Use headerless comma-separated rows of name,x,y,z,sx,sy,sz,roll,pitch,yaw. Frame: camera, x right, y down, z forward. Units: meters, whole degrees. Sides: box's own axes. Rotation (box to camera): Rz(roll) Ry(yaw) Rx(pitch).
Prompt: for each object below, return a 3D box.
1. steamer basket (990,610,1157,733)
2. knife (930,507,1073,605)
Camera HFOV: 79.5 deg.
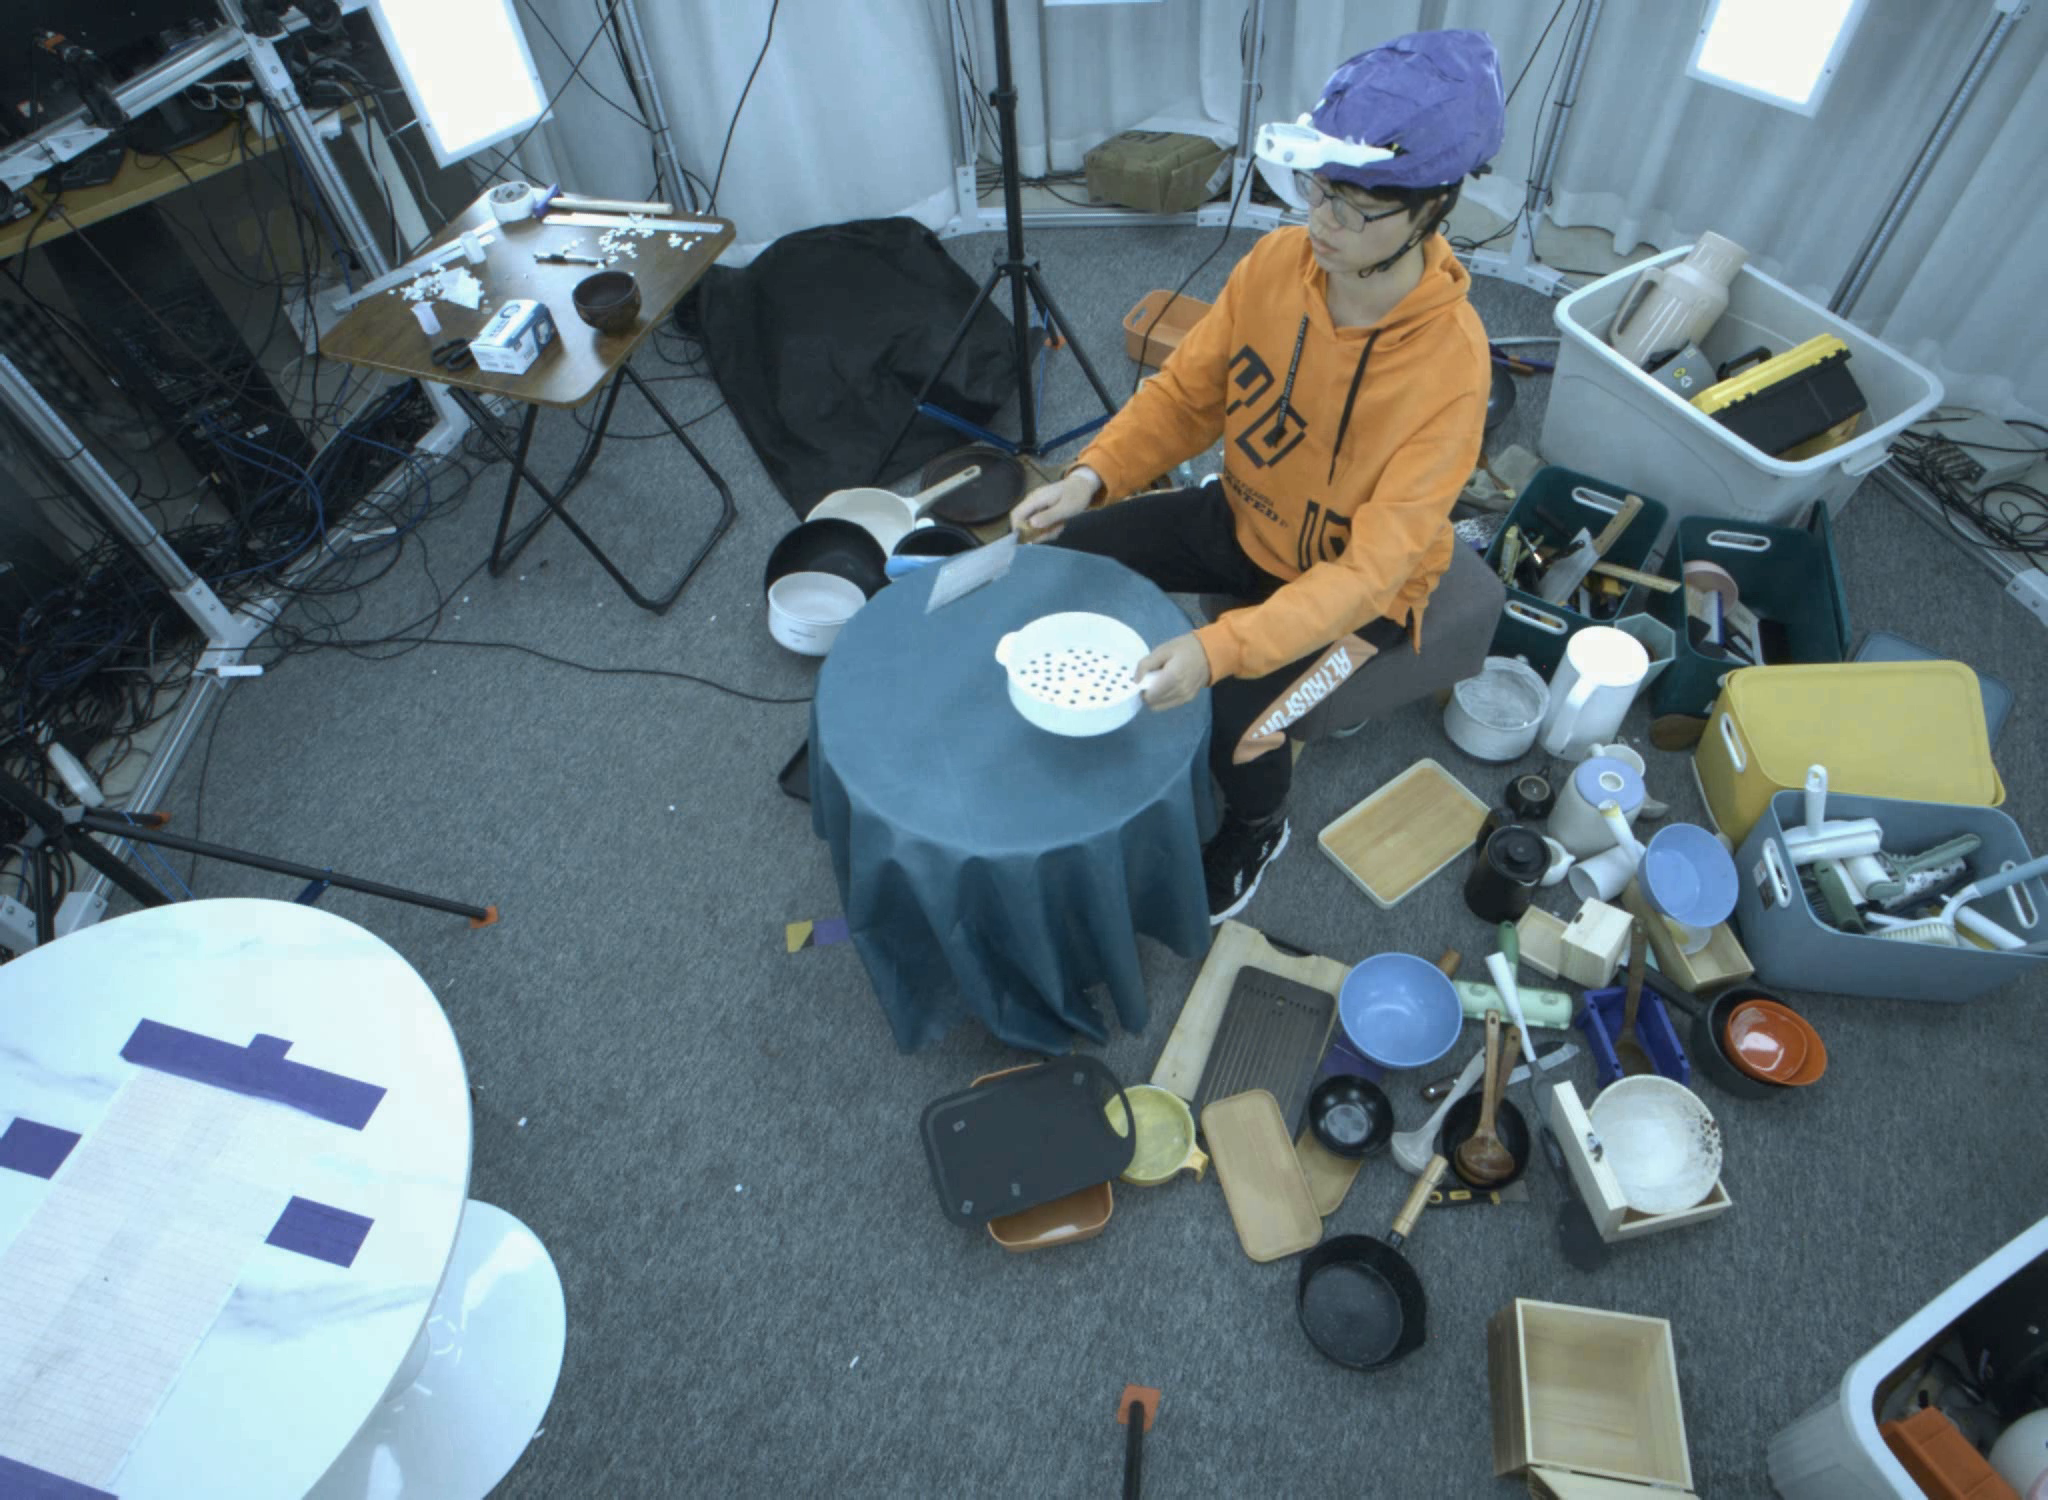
steamer basket,0.068,-0.108,1.708,0.229,0.070,0.201,8,46,9
knife,-0.033,-0.283,1.798,0.021,0.093,0.309,38,44,18
